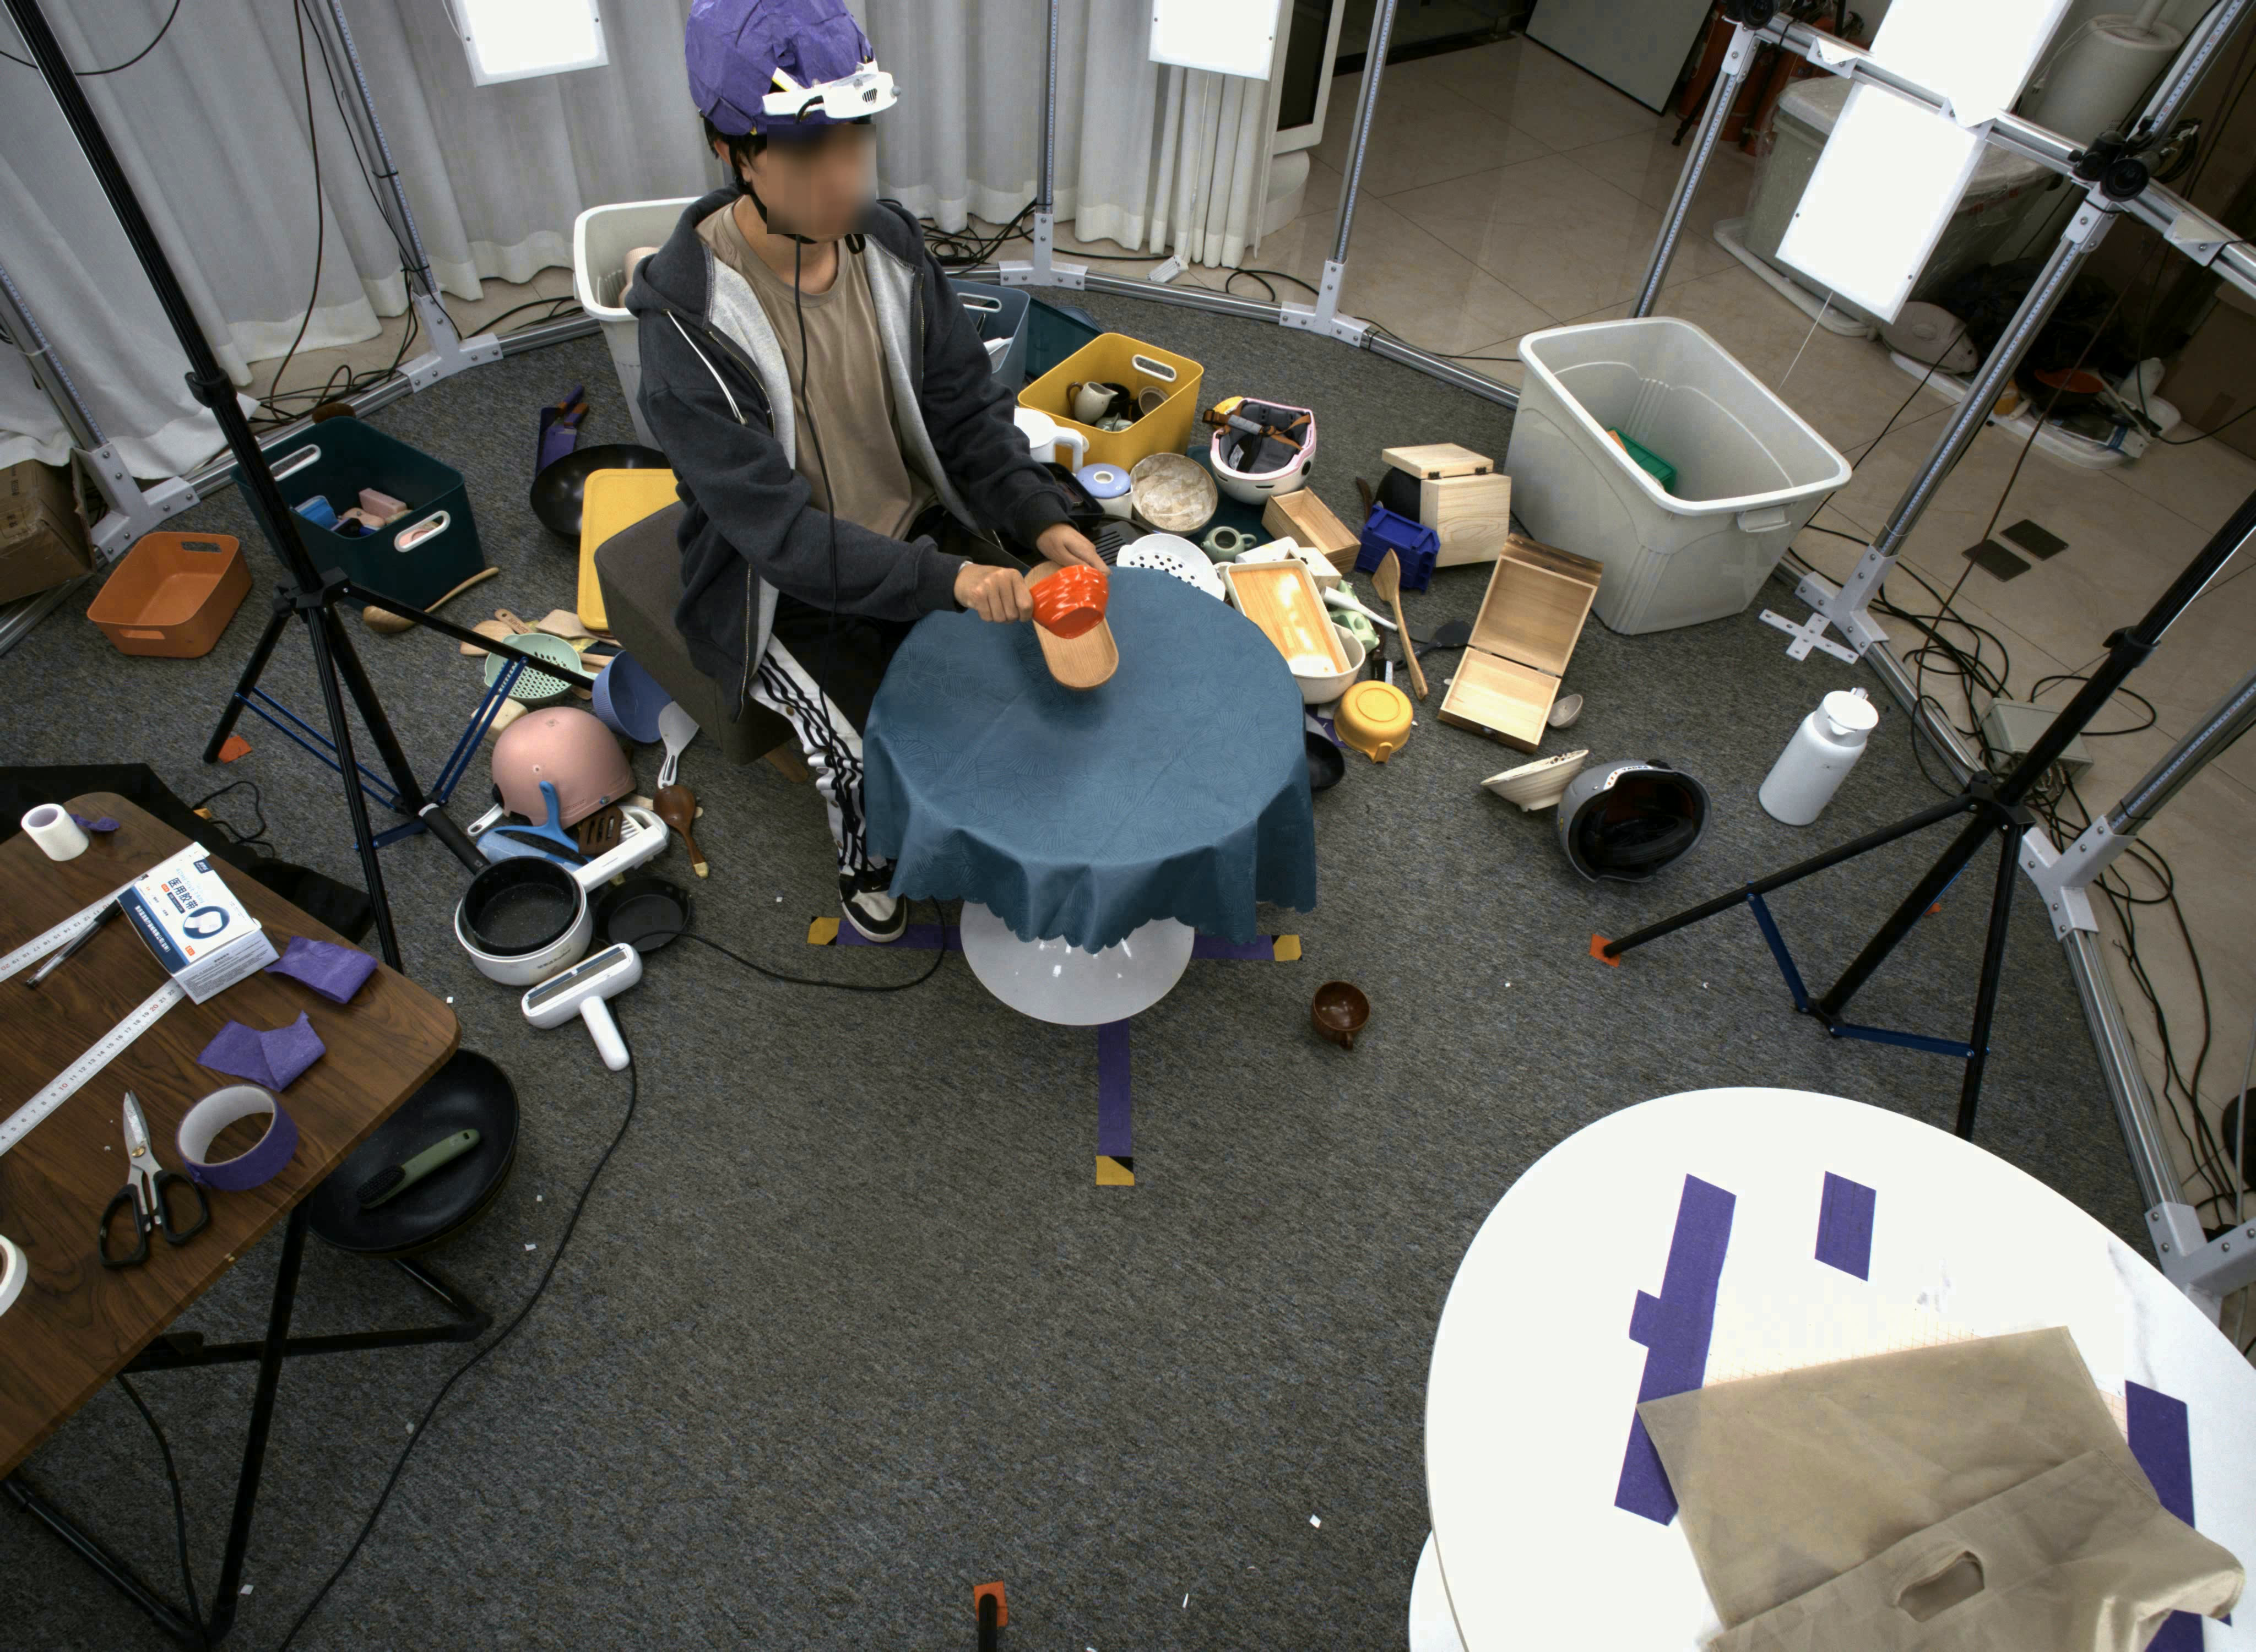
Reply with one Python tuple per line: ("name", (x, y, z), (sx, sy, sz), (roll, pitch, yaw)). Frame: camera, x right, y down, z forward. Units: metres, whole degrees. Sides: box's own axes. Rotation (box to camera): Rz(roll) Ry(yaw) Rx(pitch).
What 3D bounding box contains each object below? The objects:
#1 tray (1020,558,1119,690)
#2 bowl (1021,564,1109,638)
("tray", (-0.084, -0.289, 1.827), (0.102, 0.020, 0.236), (-15, 60, -9))
("bowl", (-0.075, -0.284, 1.663), (0.119, 0.117, 0.052), (-14, 71, -16))
